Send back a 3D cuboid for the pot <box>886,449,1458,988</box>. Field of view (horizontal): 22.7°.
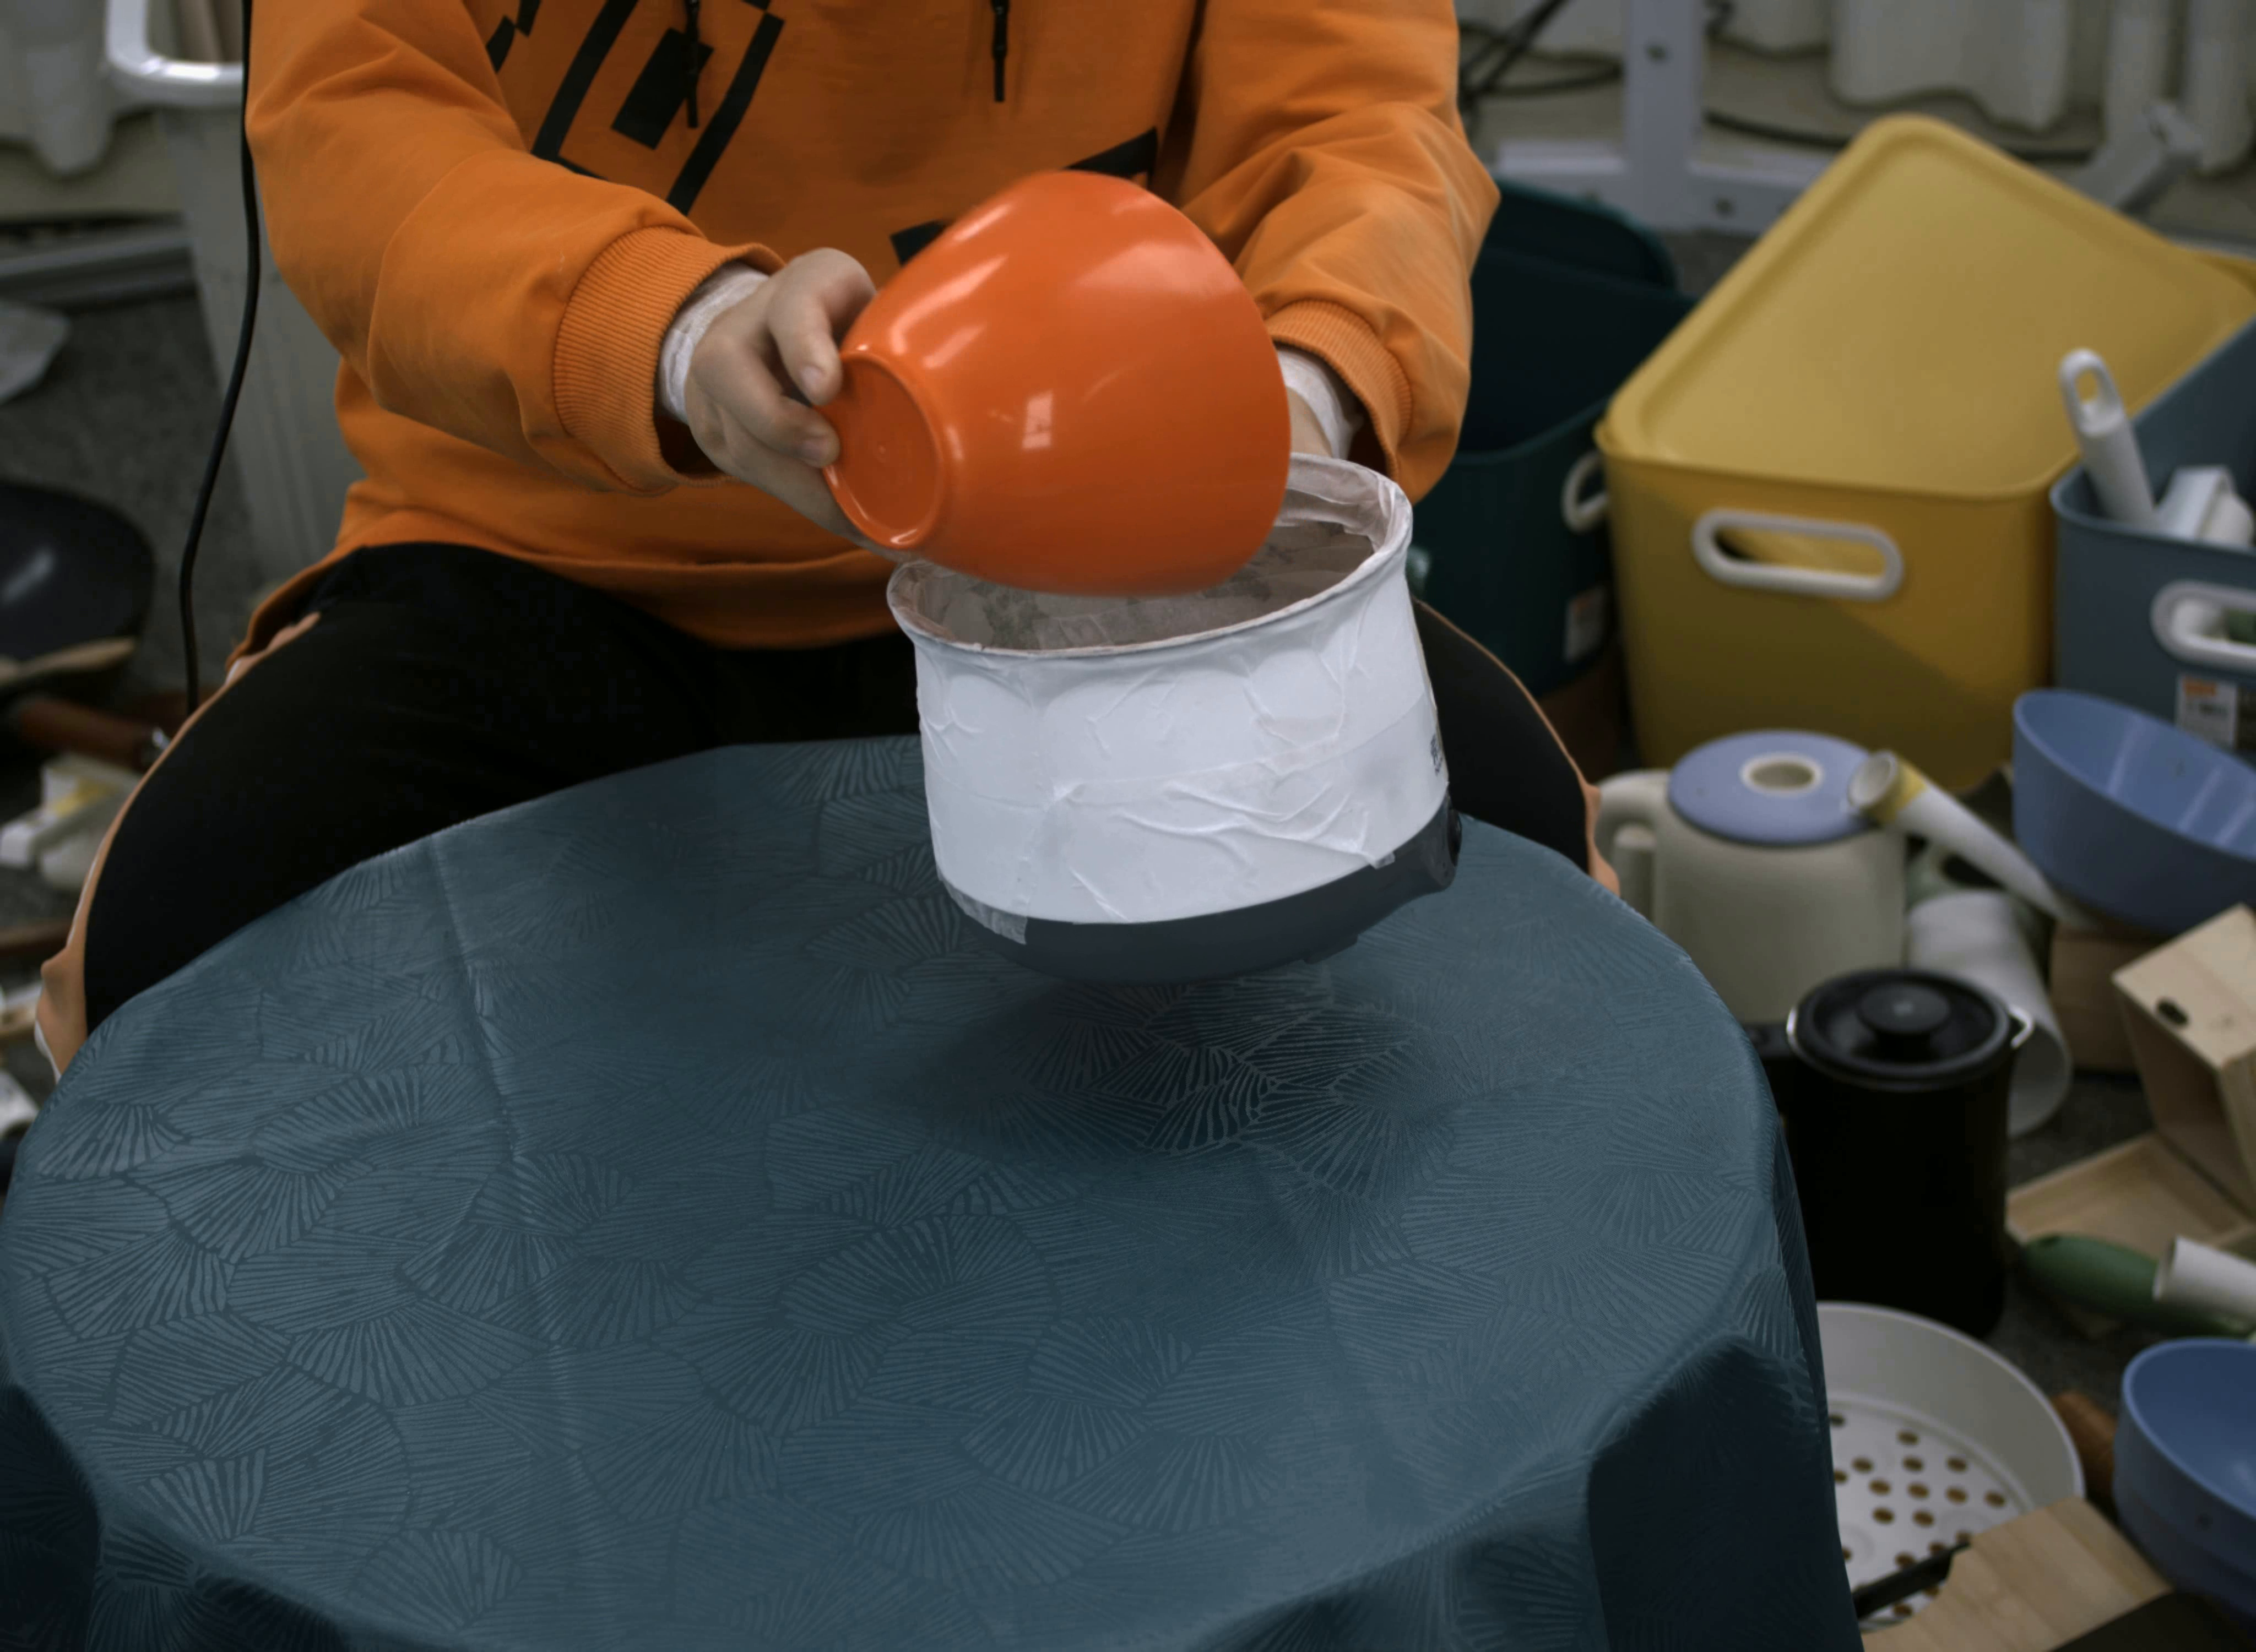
[{"bbox_3d":[0.019,-0.047,1.916,0.177,0.135,0.237,-5,23,8],"label":"pot"}]

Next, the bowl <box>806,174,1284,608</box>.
[{"bbox_3d":[-0.037,-0.131,1.831,0.106,0.146,0.148,-20,32,-39],"label":"bowl"}]
